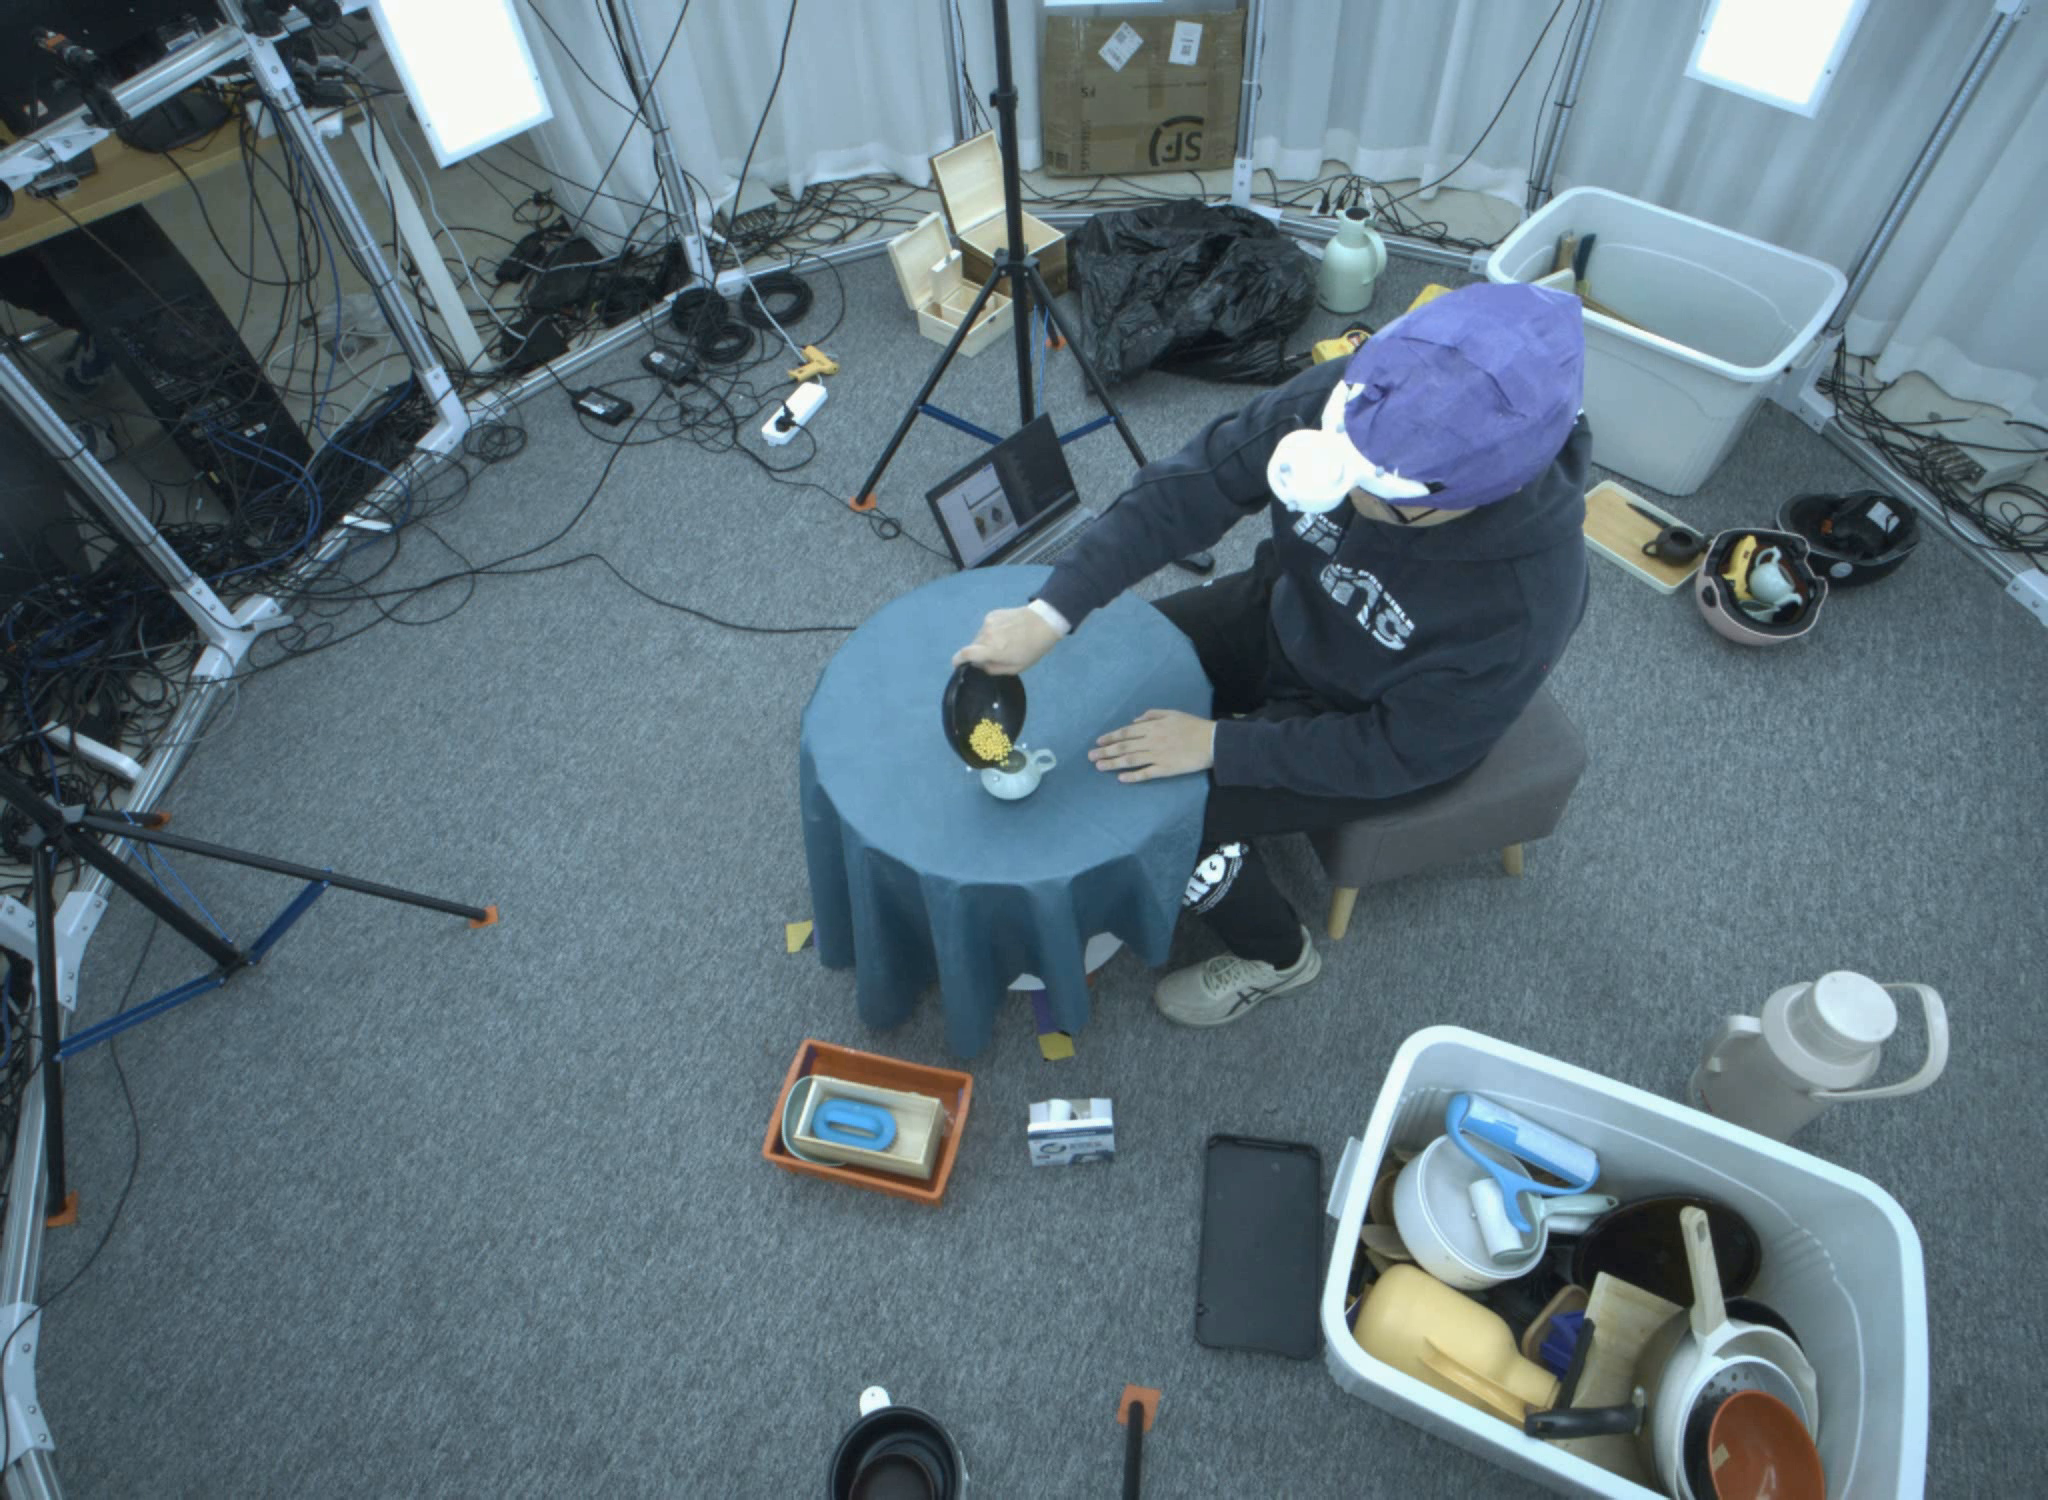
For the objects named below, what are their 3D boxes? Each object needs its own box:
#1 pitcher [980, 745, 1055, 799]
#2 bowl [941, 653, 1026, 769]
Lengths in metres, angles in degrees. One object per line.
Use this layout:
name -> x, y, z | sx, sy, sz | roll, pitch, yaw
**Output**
pitcher -> -0.009, 0.025, 1.736 | 0.108, 0.061, 0.085 | -9, 56, -6
bowl -> -0.068, -0.057, 1.665 | 0.065, 0.173, 0.138 | 23, 53, 35
